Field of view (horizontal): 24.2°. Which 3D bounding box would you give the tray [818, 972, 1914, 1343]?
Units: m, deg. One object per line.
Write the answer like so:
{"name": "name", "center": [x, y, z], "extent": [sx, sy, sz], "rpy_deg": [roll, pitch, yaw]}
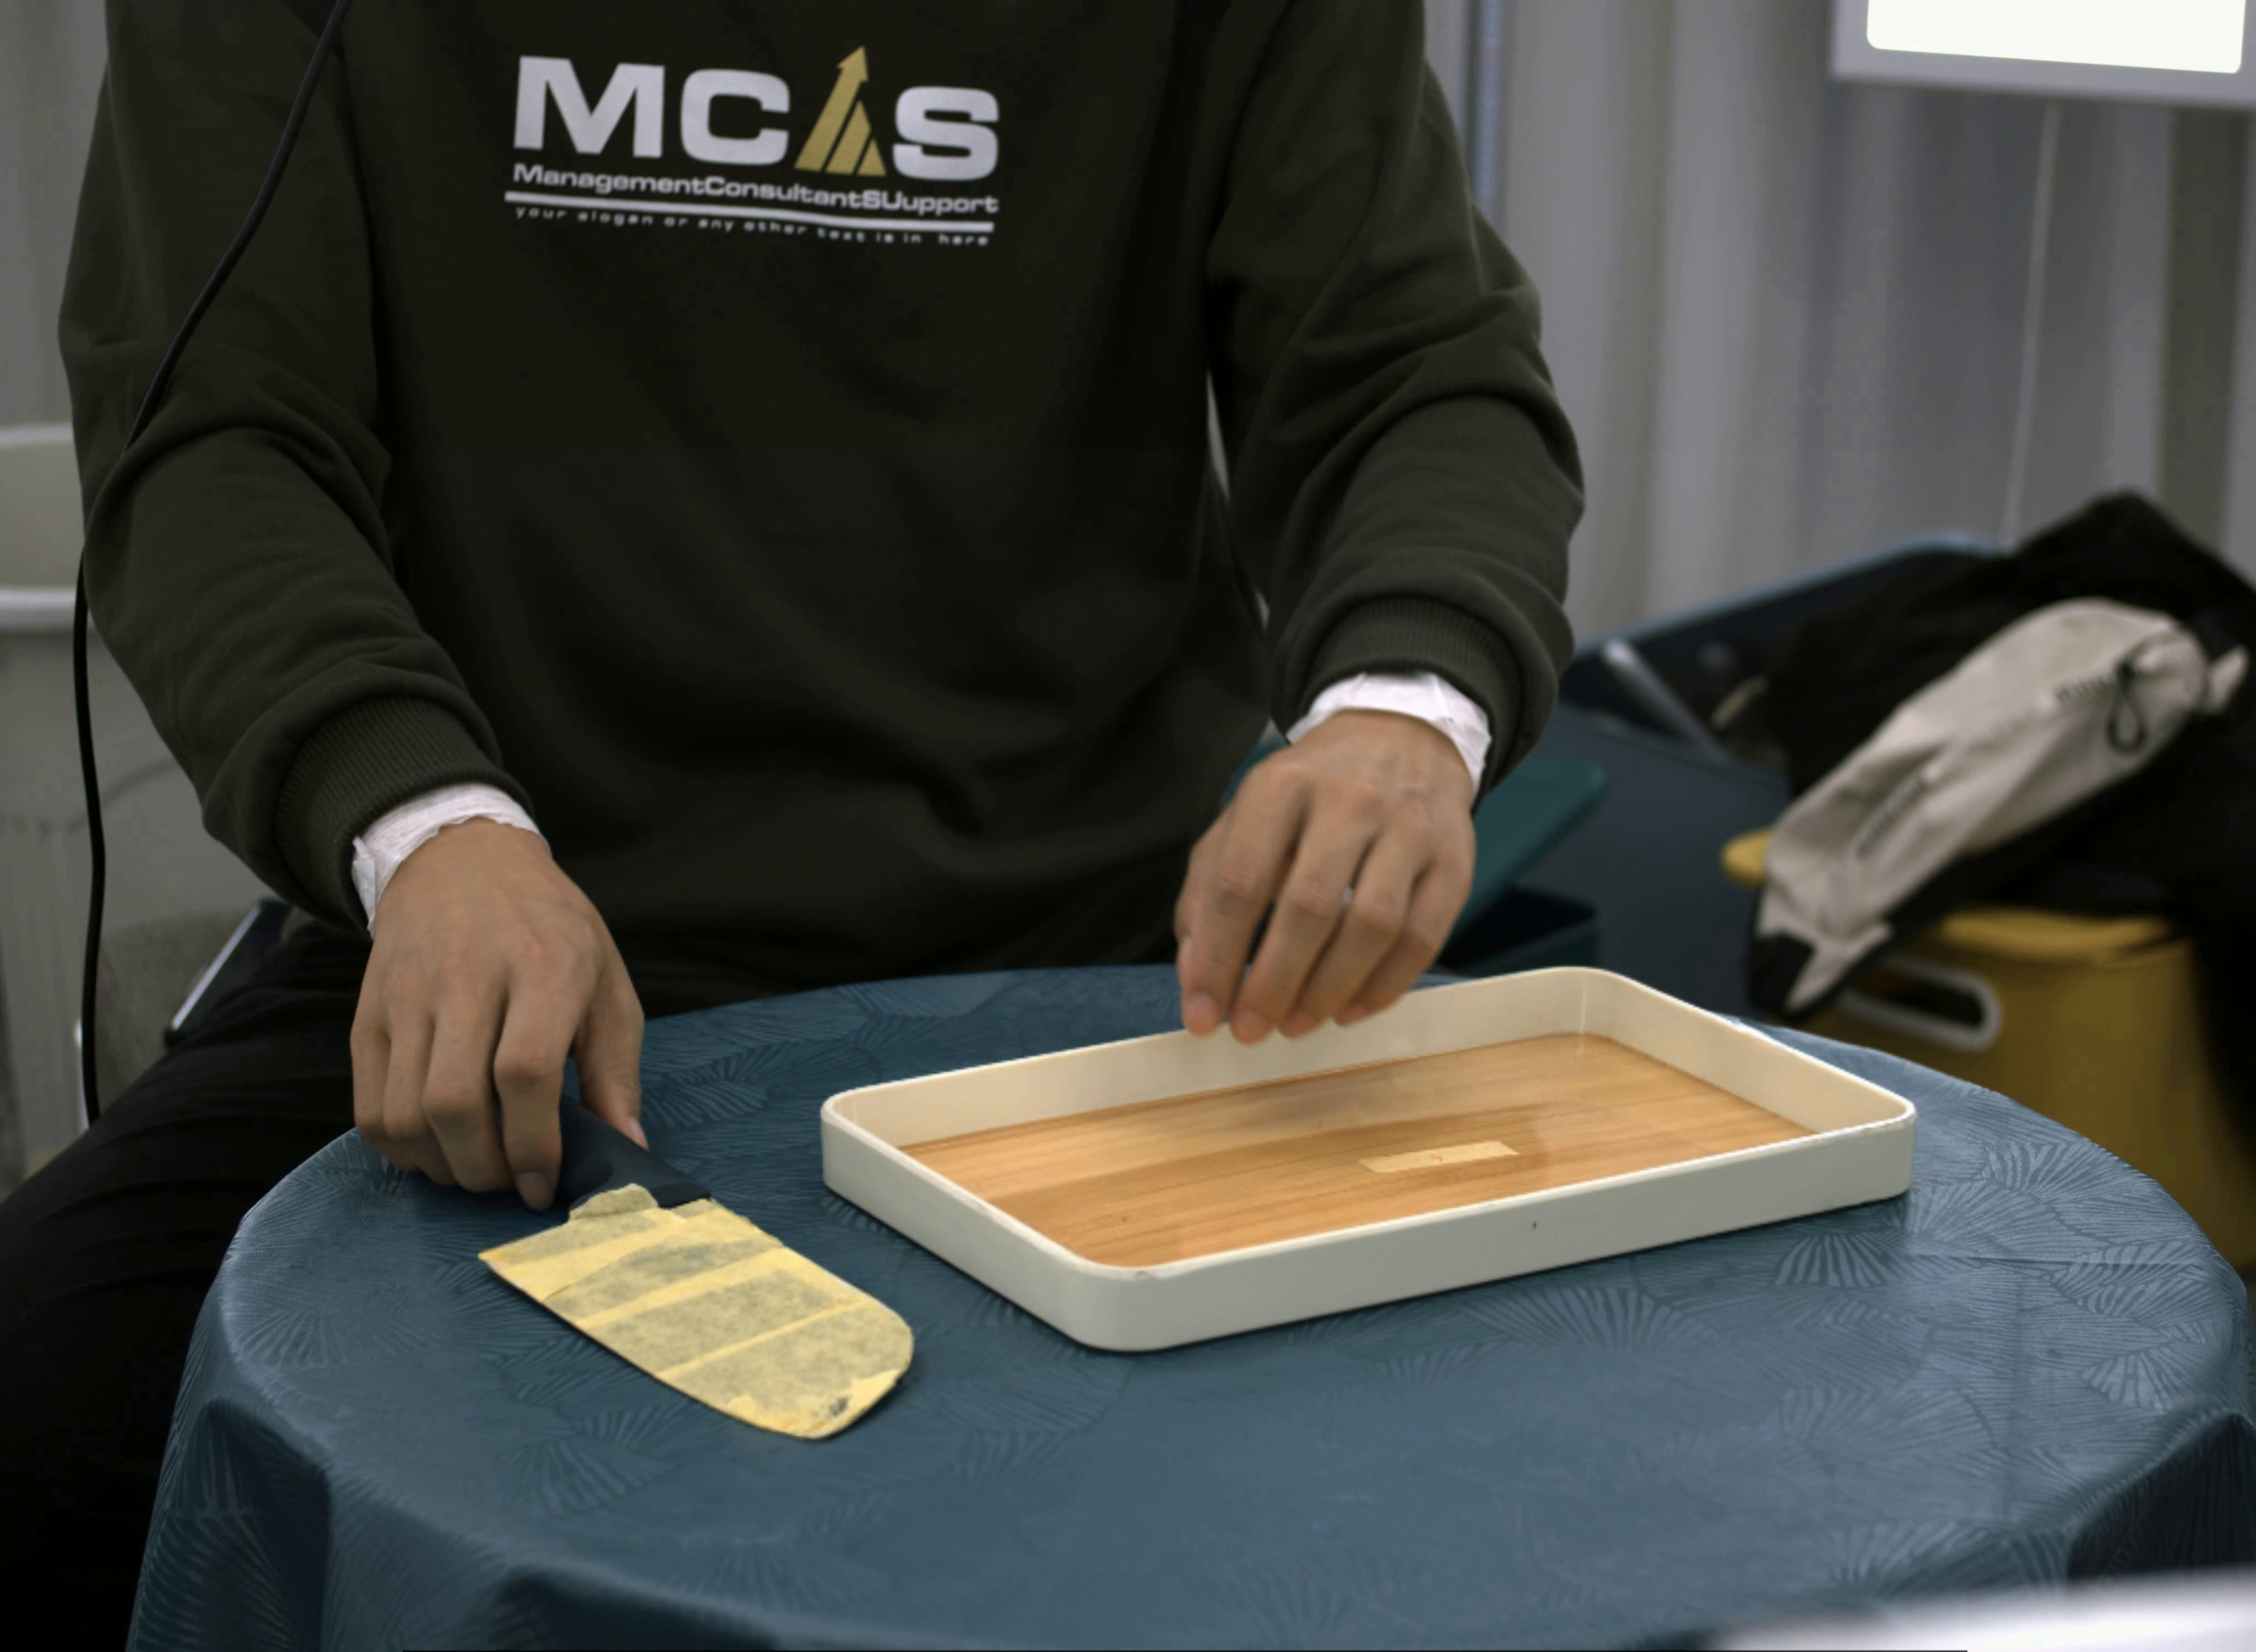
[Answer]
{"name": "tray", "center": [0.074, 0.098, 1.629], "extent": [0.301, 0.027, 0.189], "rpy_deg": [-8, 16, -30]}

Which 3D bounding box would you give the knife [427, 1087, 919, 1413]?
{"name": "knife", "center": [-0.148, 0.125, 1.548], "extent": [0.081, 0.027, 0.286], "rpy_deg": [-12, 20, -30]}
